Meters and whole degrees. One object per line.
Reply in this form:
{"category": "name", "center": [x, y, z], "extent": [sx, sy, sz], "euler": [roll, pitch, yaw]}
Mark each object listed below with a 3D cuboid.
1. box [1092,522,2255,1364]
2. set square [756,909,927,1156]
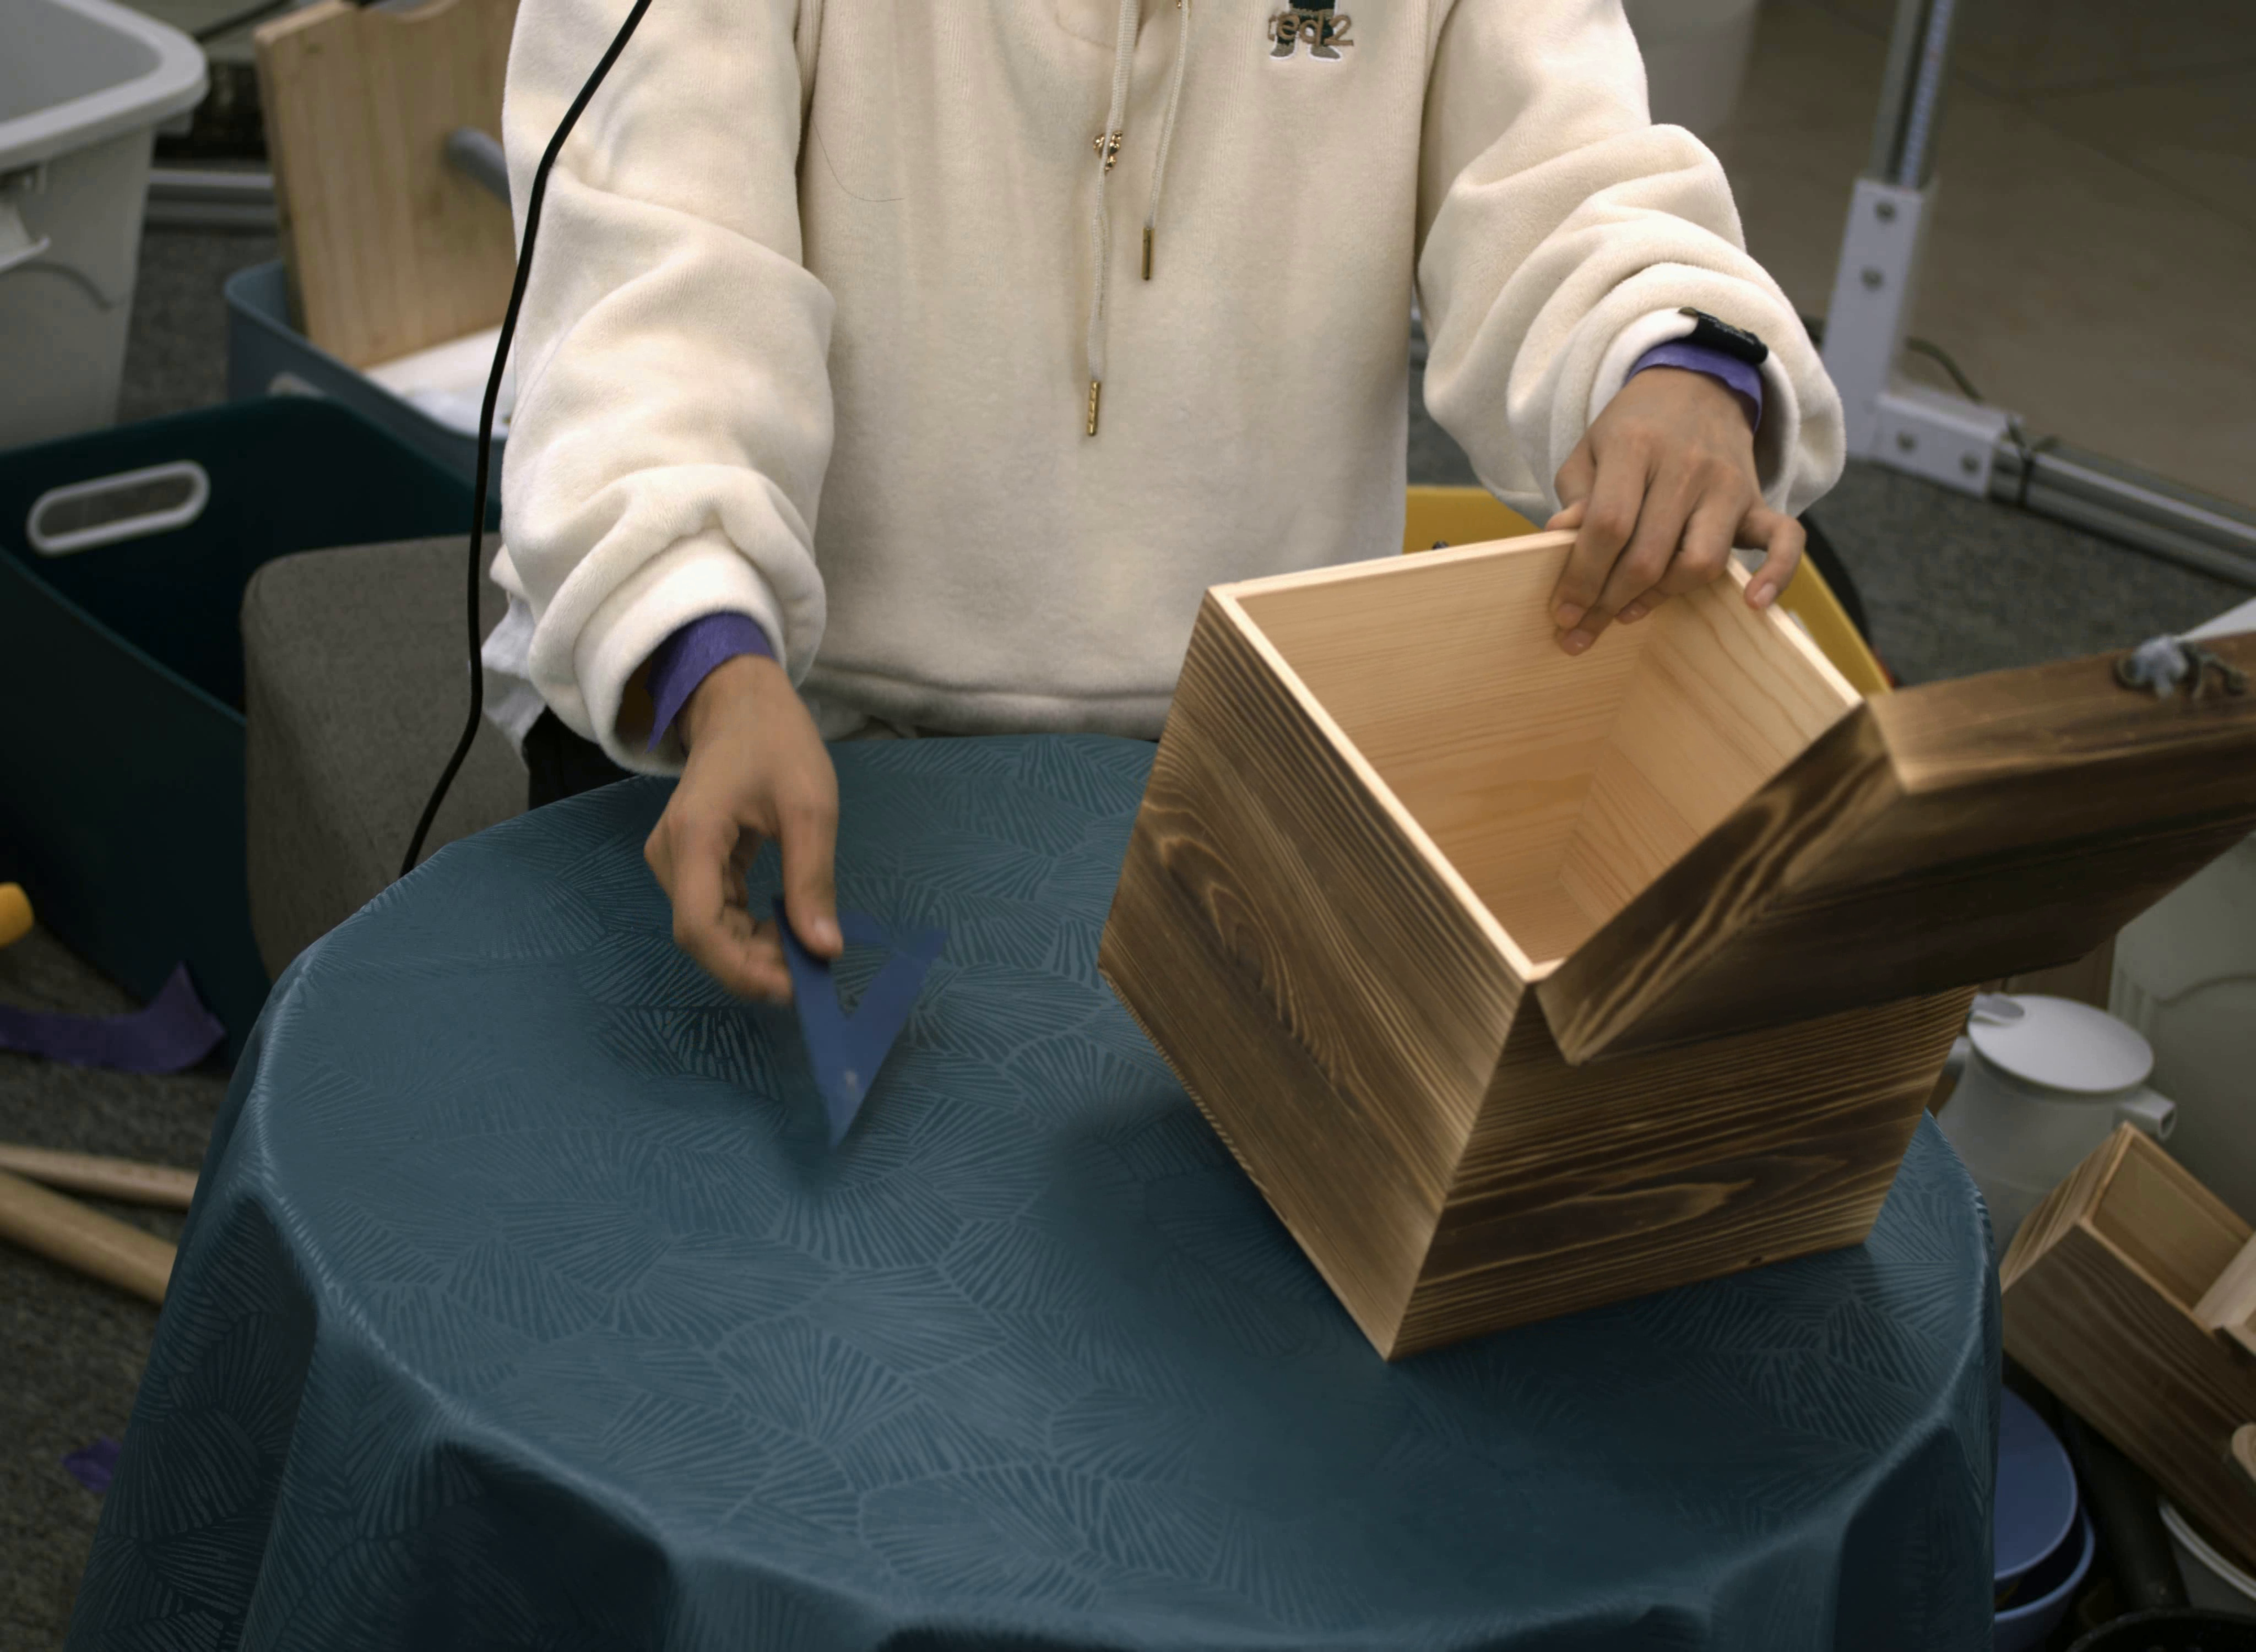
{"category": "box", "center": [0.187, -0.007, 1.694], "extent": [0.207, 0.374, 0.325], "euler": [-10, 45, -31]}
{"category": "set square", "center": [-0.115, 0.063, 1.819], "extent": [0.061, 0.006, 0.132], "euler": [33, 37, 0]}
